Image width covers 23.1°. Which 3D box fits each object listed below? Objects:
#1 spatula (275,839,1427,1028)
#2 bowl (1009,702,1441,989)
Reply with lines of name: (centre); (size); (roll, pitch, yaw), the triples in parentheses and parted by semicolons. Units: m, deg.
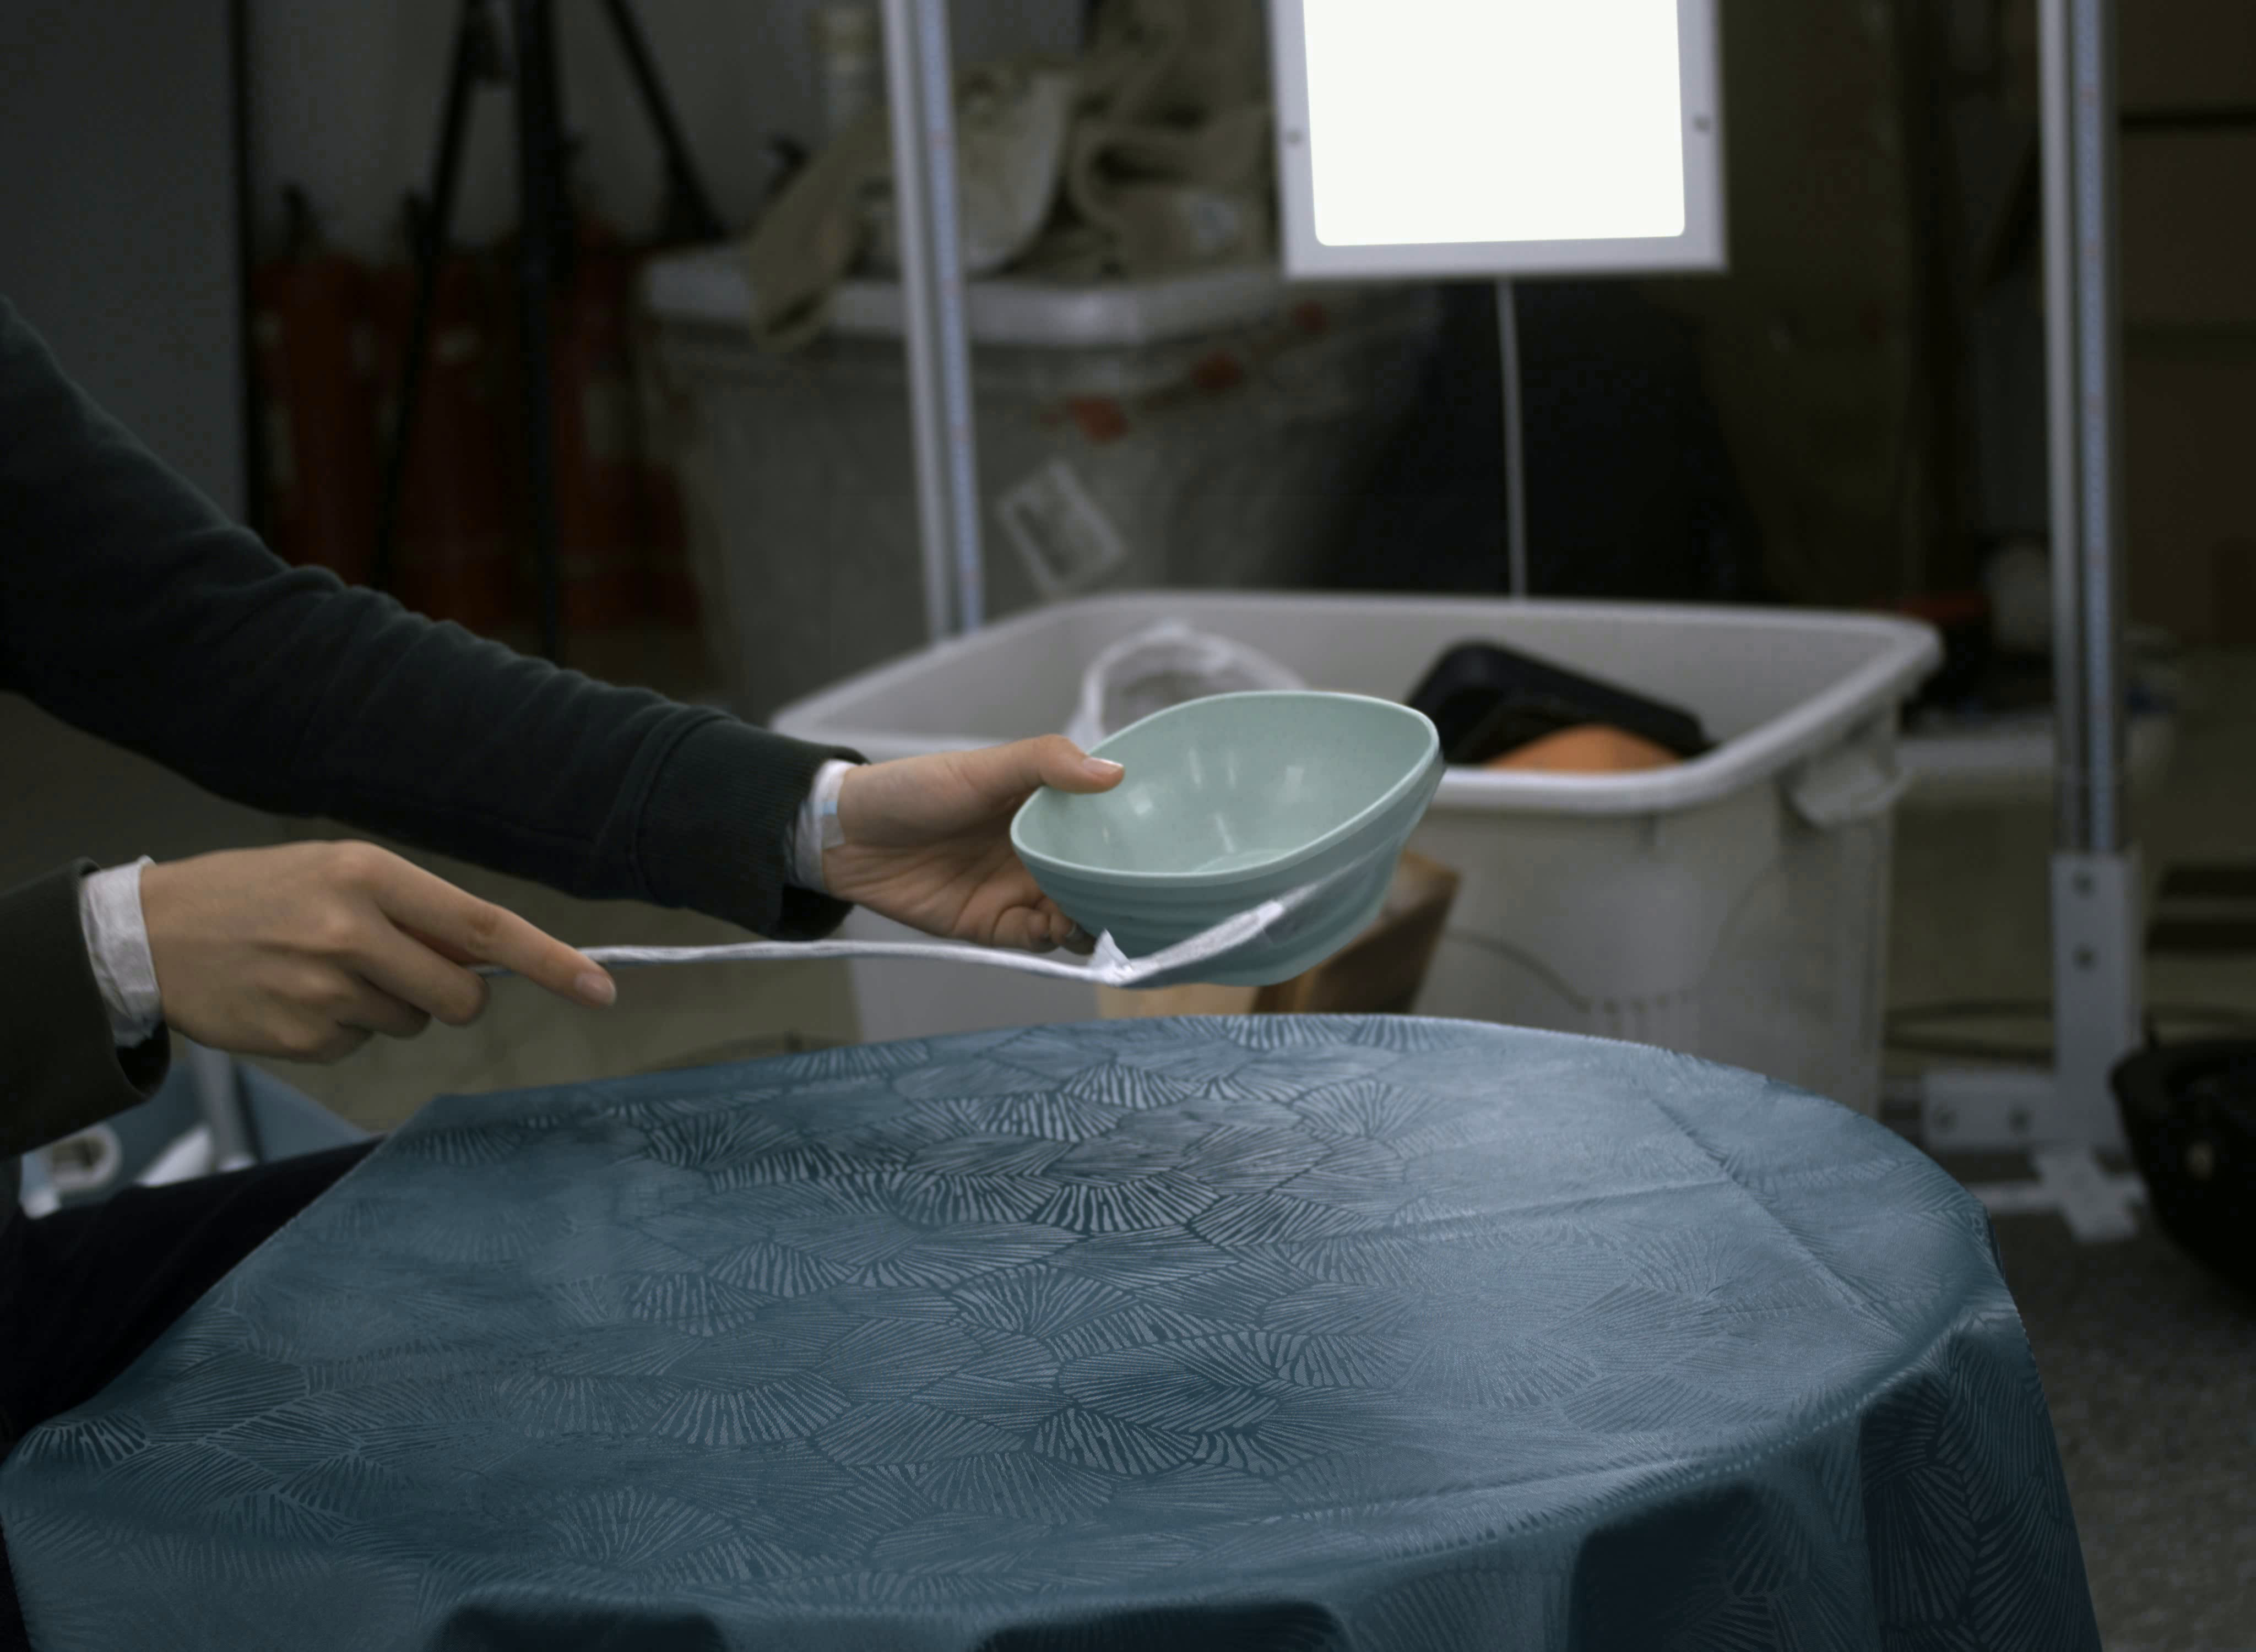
spatula: (-0.089, 0.035, 1.694); (0.366, 0.045, 0.098); (-2, 6, 8)
bowl: (0.038, 0.011, 1.891); (0.151, 0.059, 0.151); (-11, 22, 3)
